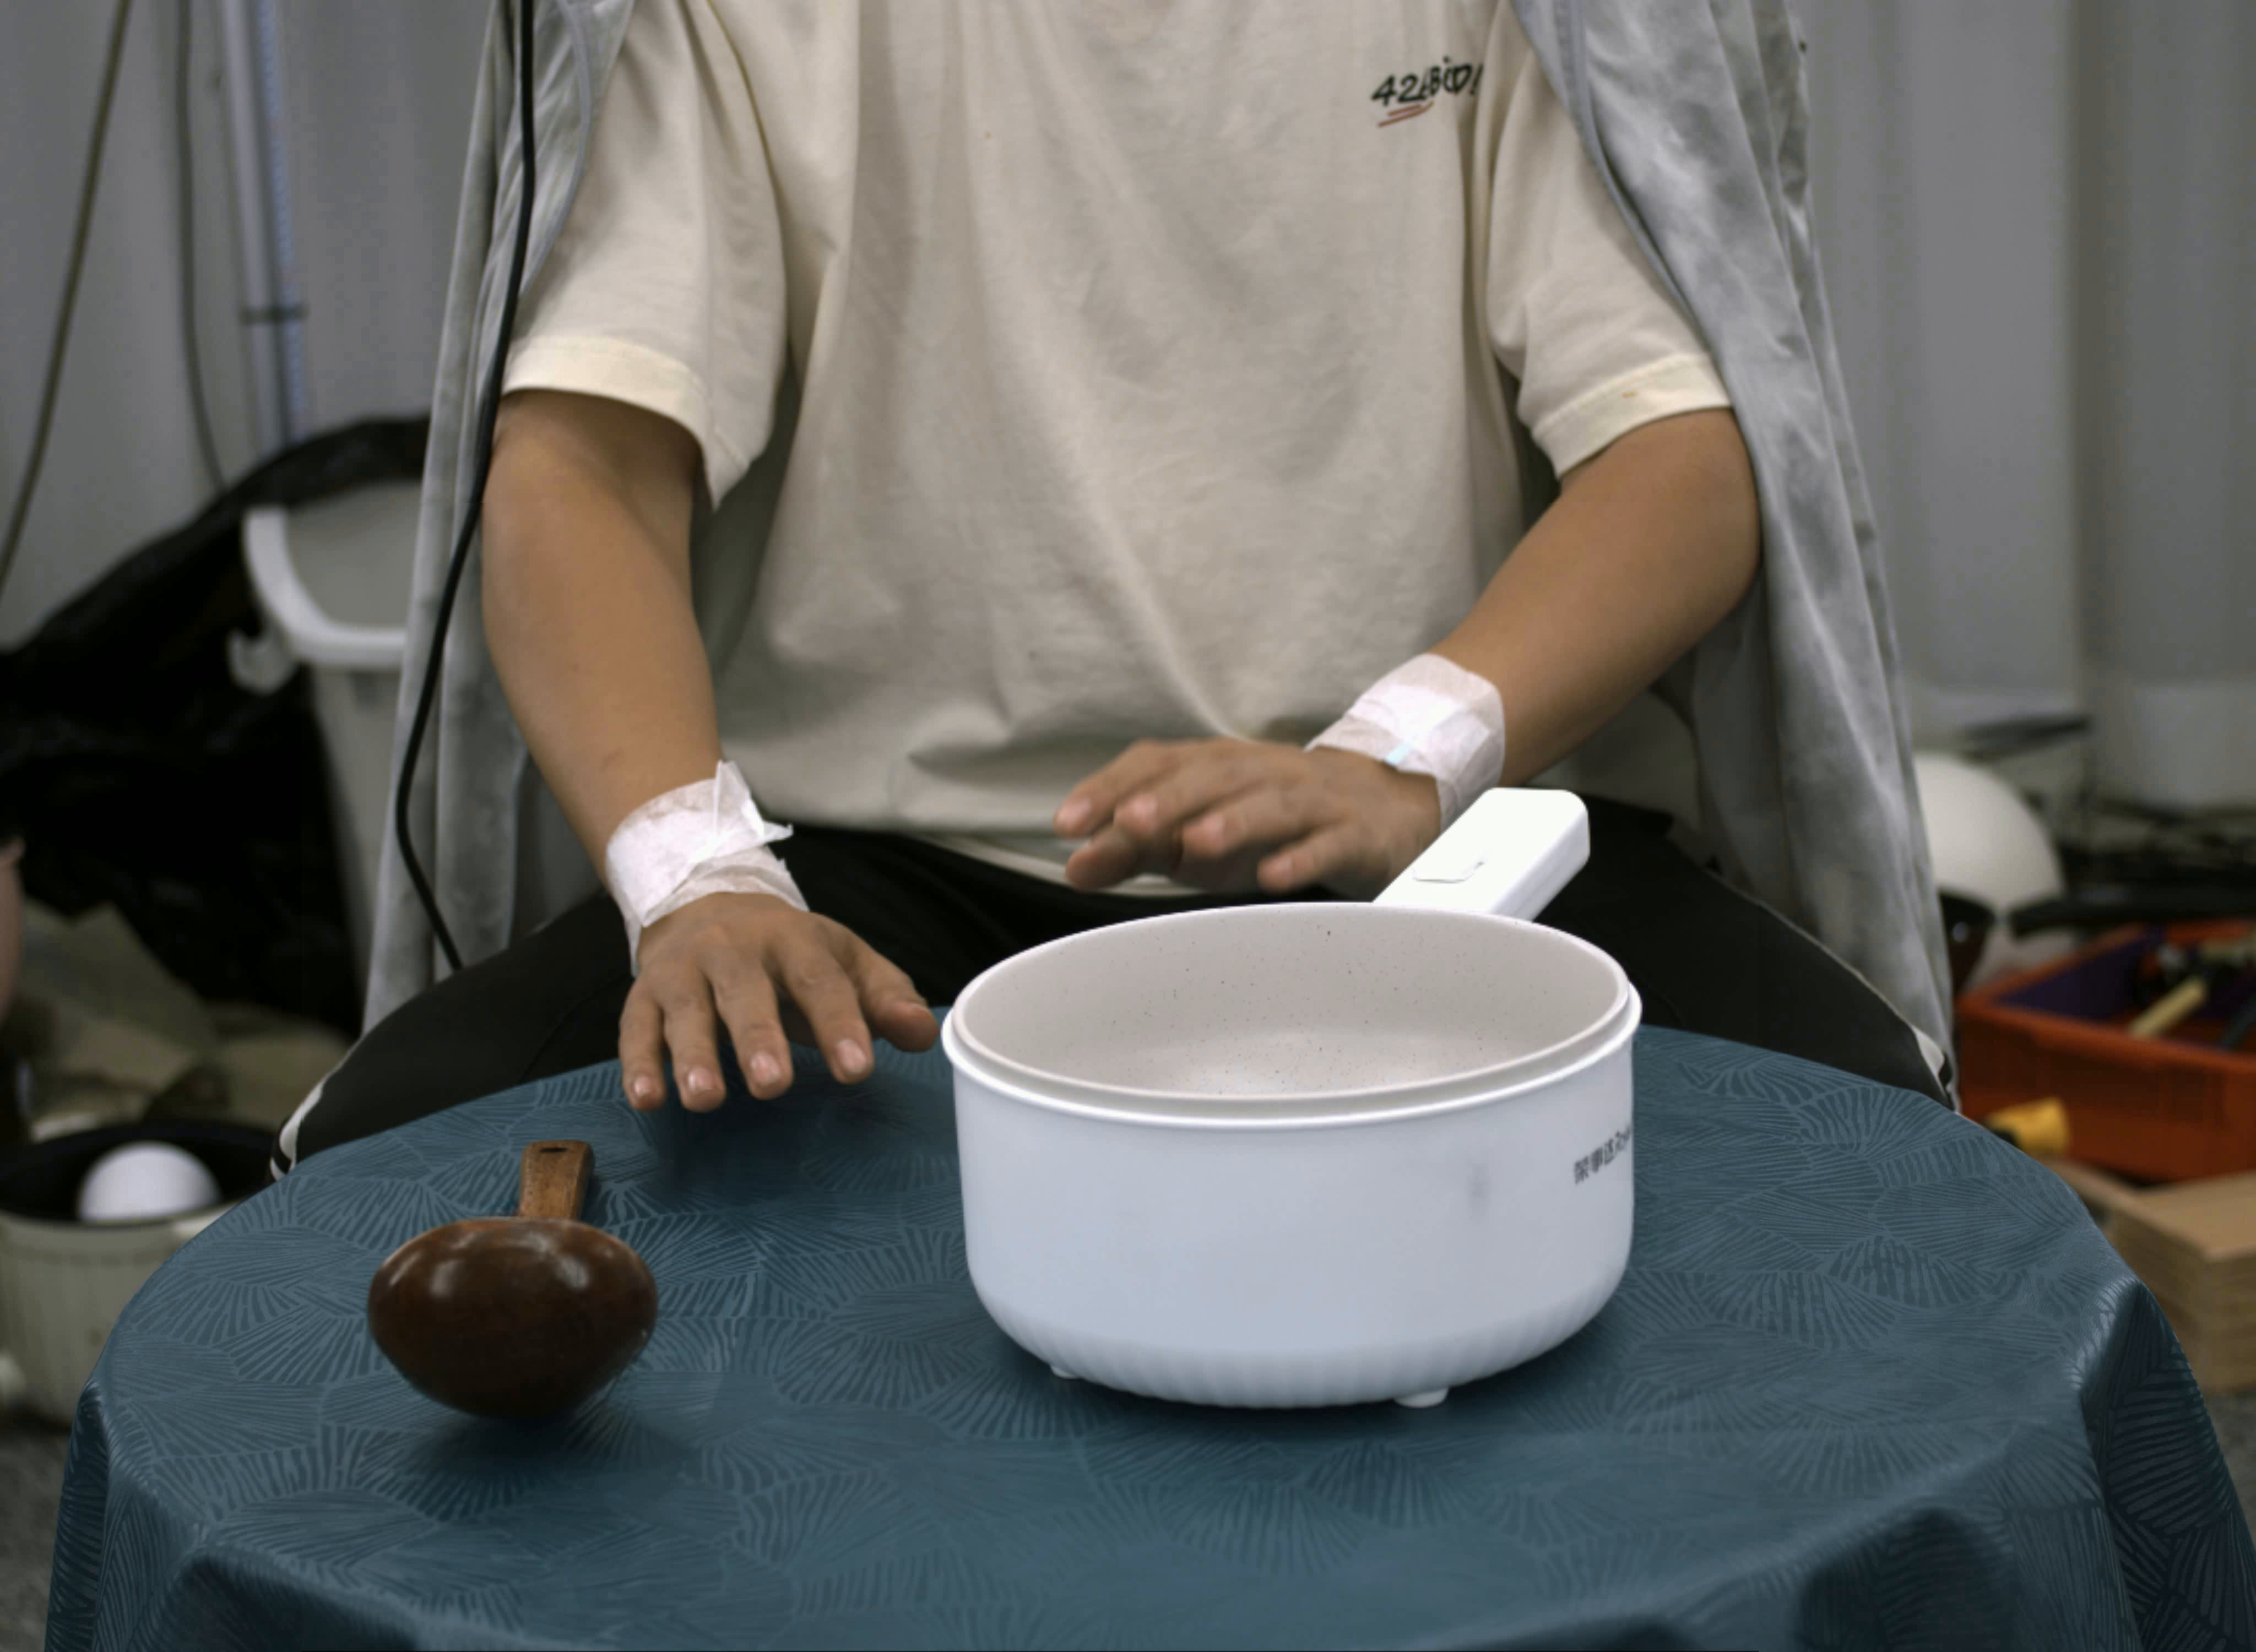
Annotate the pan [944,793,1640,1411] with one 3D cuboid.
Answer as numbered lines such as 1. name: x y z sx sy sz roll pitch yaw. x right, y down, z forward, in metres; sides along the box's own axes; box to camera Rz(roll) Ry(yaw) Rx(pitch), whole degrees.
1. pan: 0.076 0.079 1.652 0.201 0.102 0.356 2 15 21

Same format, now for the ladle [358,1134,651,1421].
1. ladle: -0.174 0.109 1.621 0.081 0.076 0.276 5 15 -2
